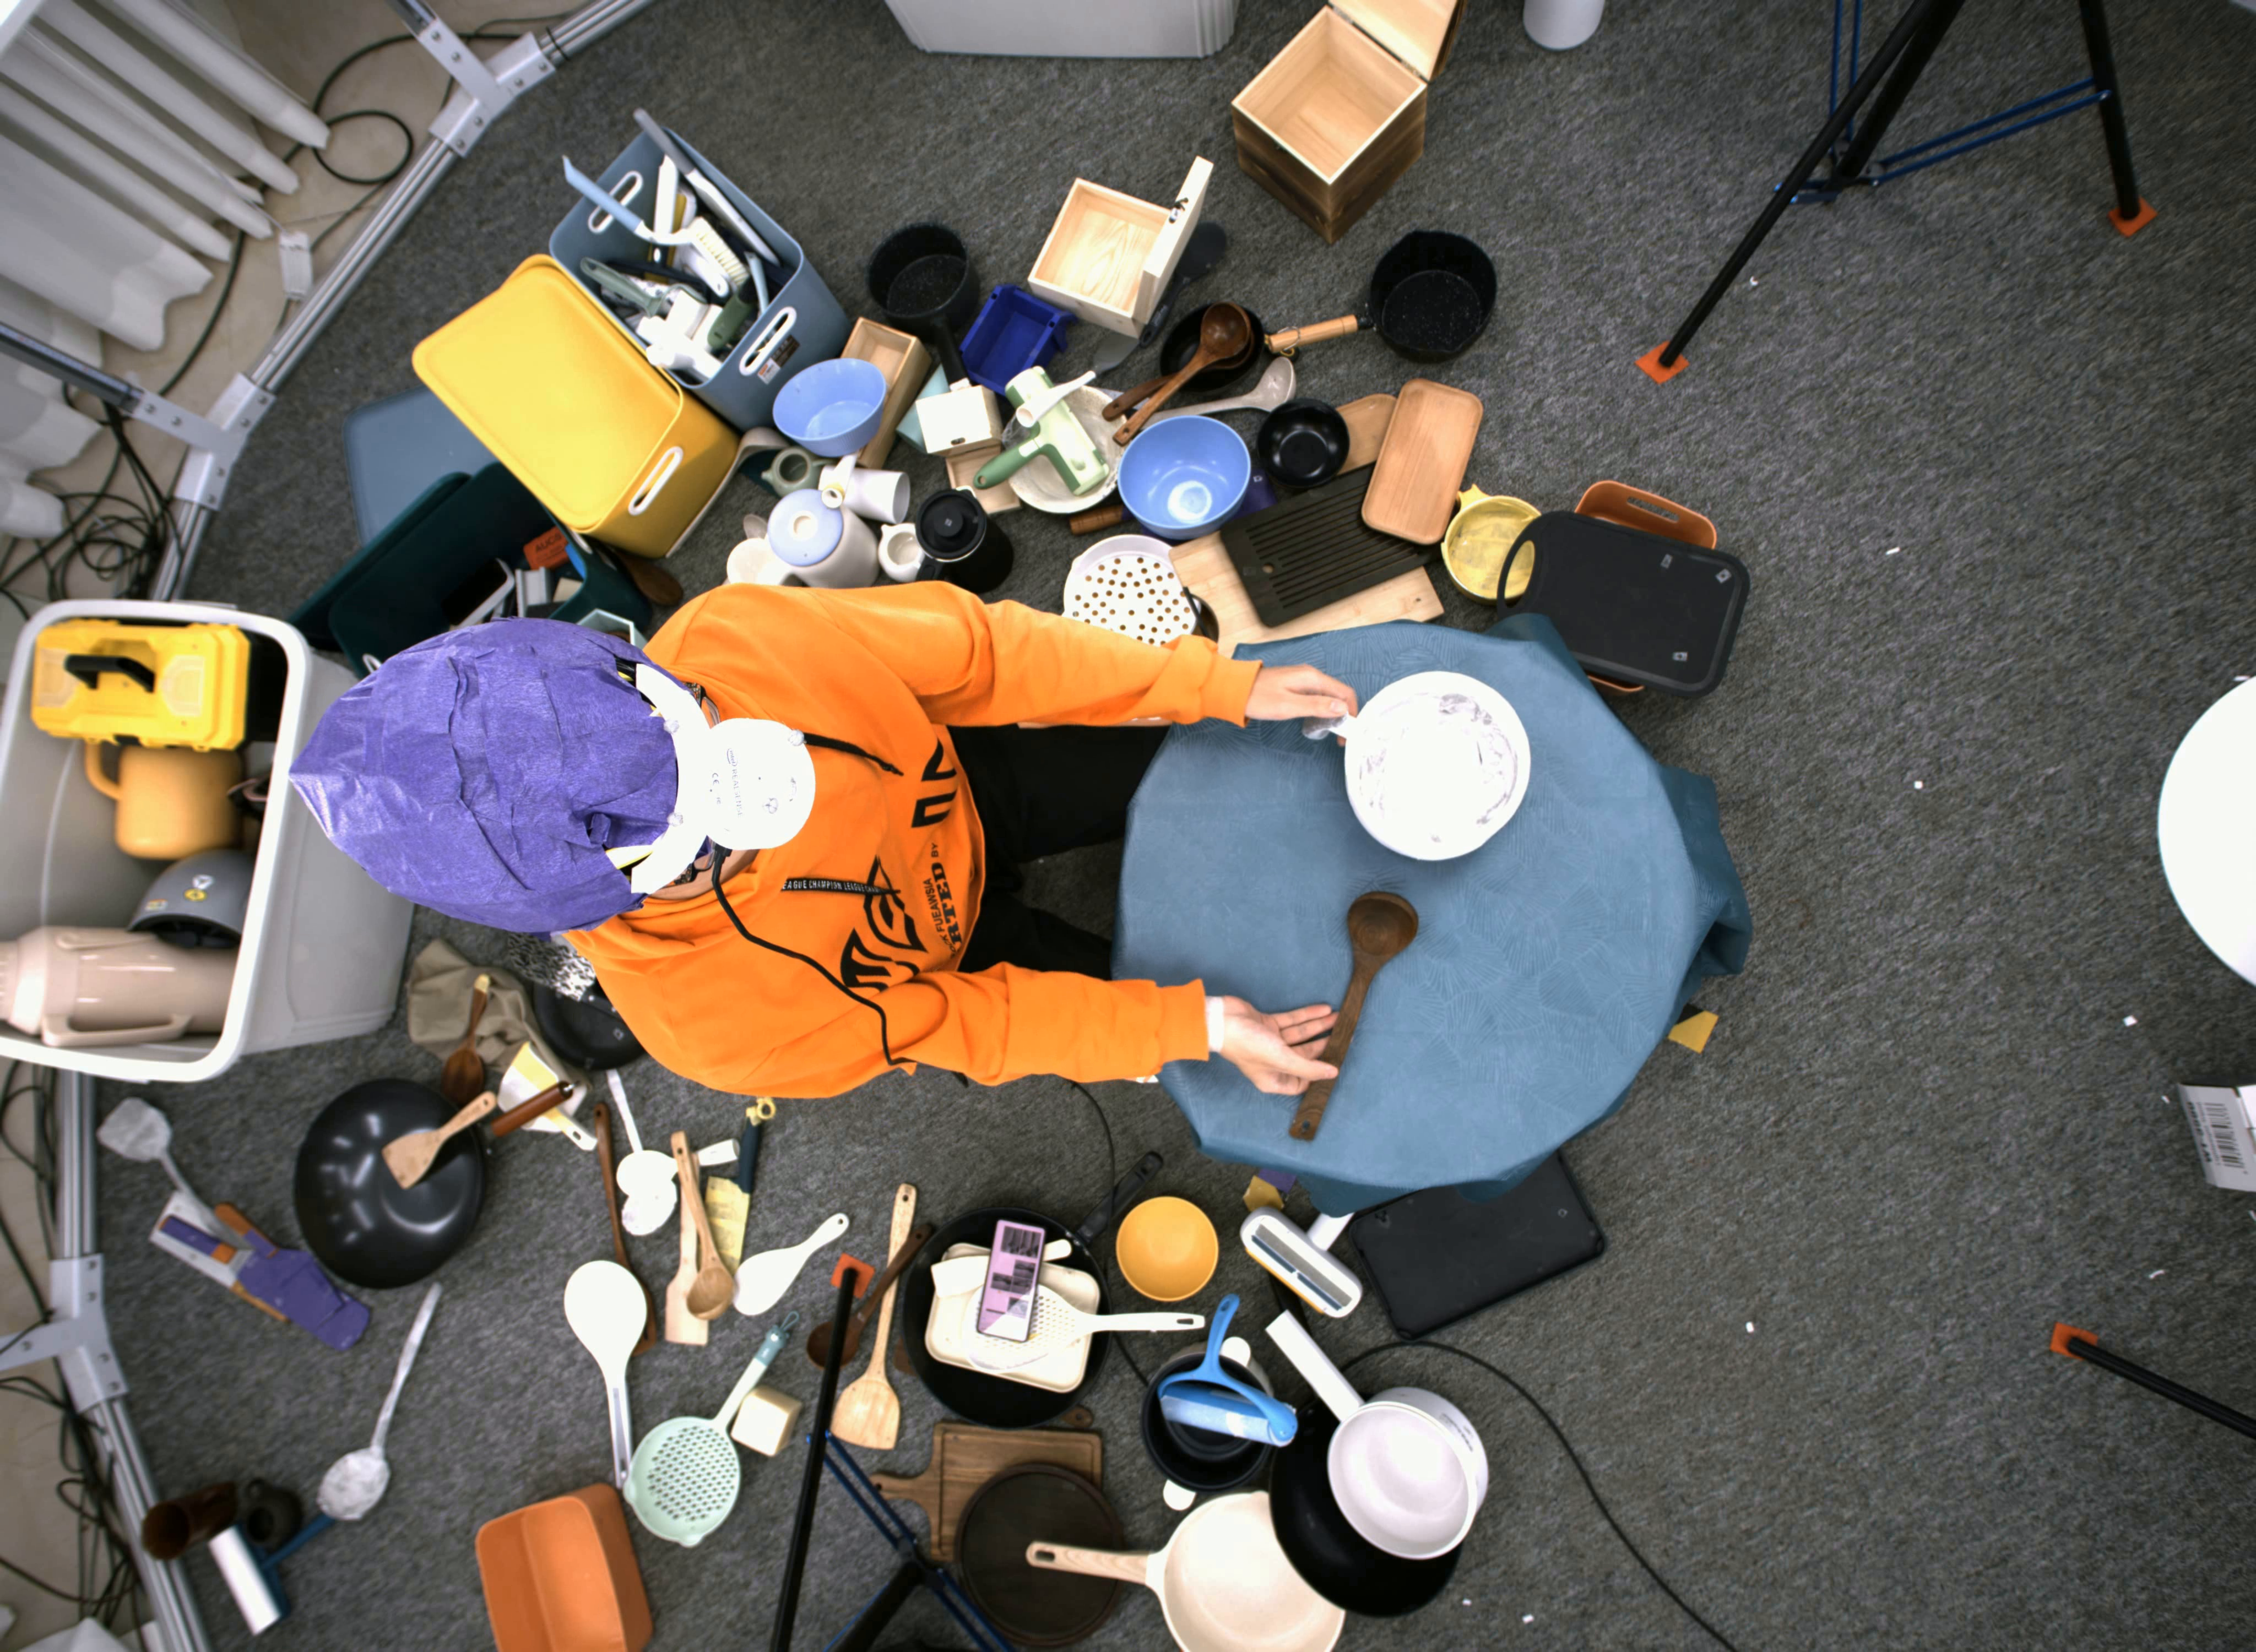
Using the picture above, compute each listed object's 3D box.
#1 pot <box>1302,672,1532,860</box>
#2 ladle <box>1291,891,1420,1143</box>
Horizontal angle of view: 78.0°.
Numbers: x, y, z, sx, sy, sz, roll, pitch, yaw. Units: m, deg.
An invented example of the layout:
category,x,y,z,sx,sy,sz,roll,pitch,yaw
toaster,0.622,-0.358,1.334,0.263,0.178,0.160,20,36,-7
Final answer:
category,x,y,z,sx,sy,sz,roll,pitch,yaw
pot,0.284,-0.069,1.395,0.233,0.137,0.178,24,90,11
ladle,0.225,0.198,1.425,0.076,0.071,0.274,22,90,14
